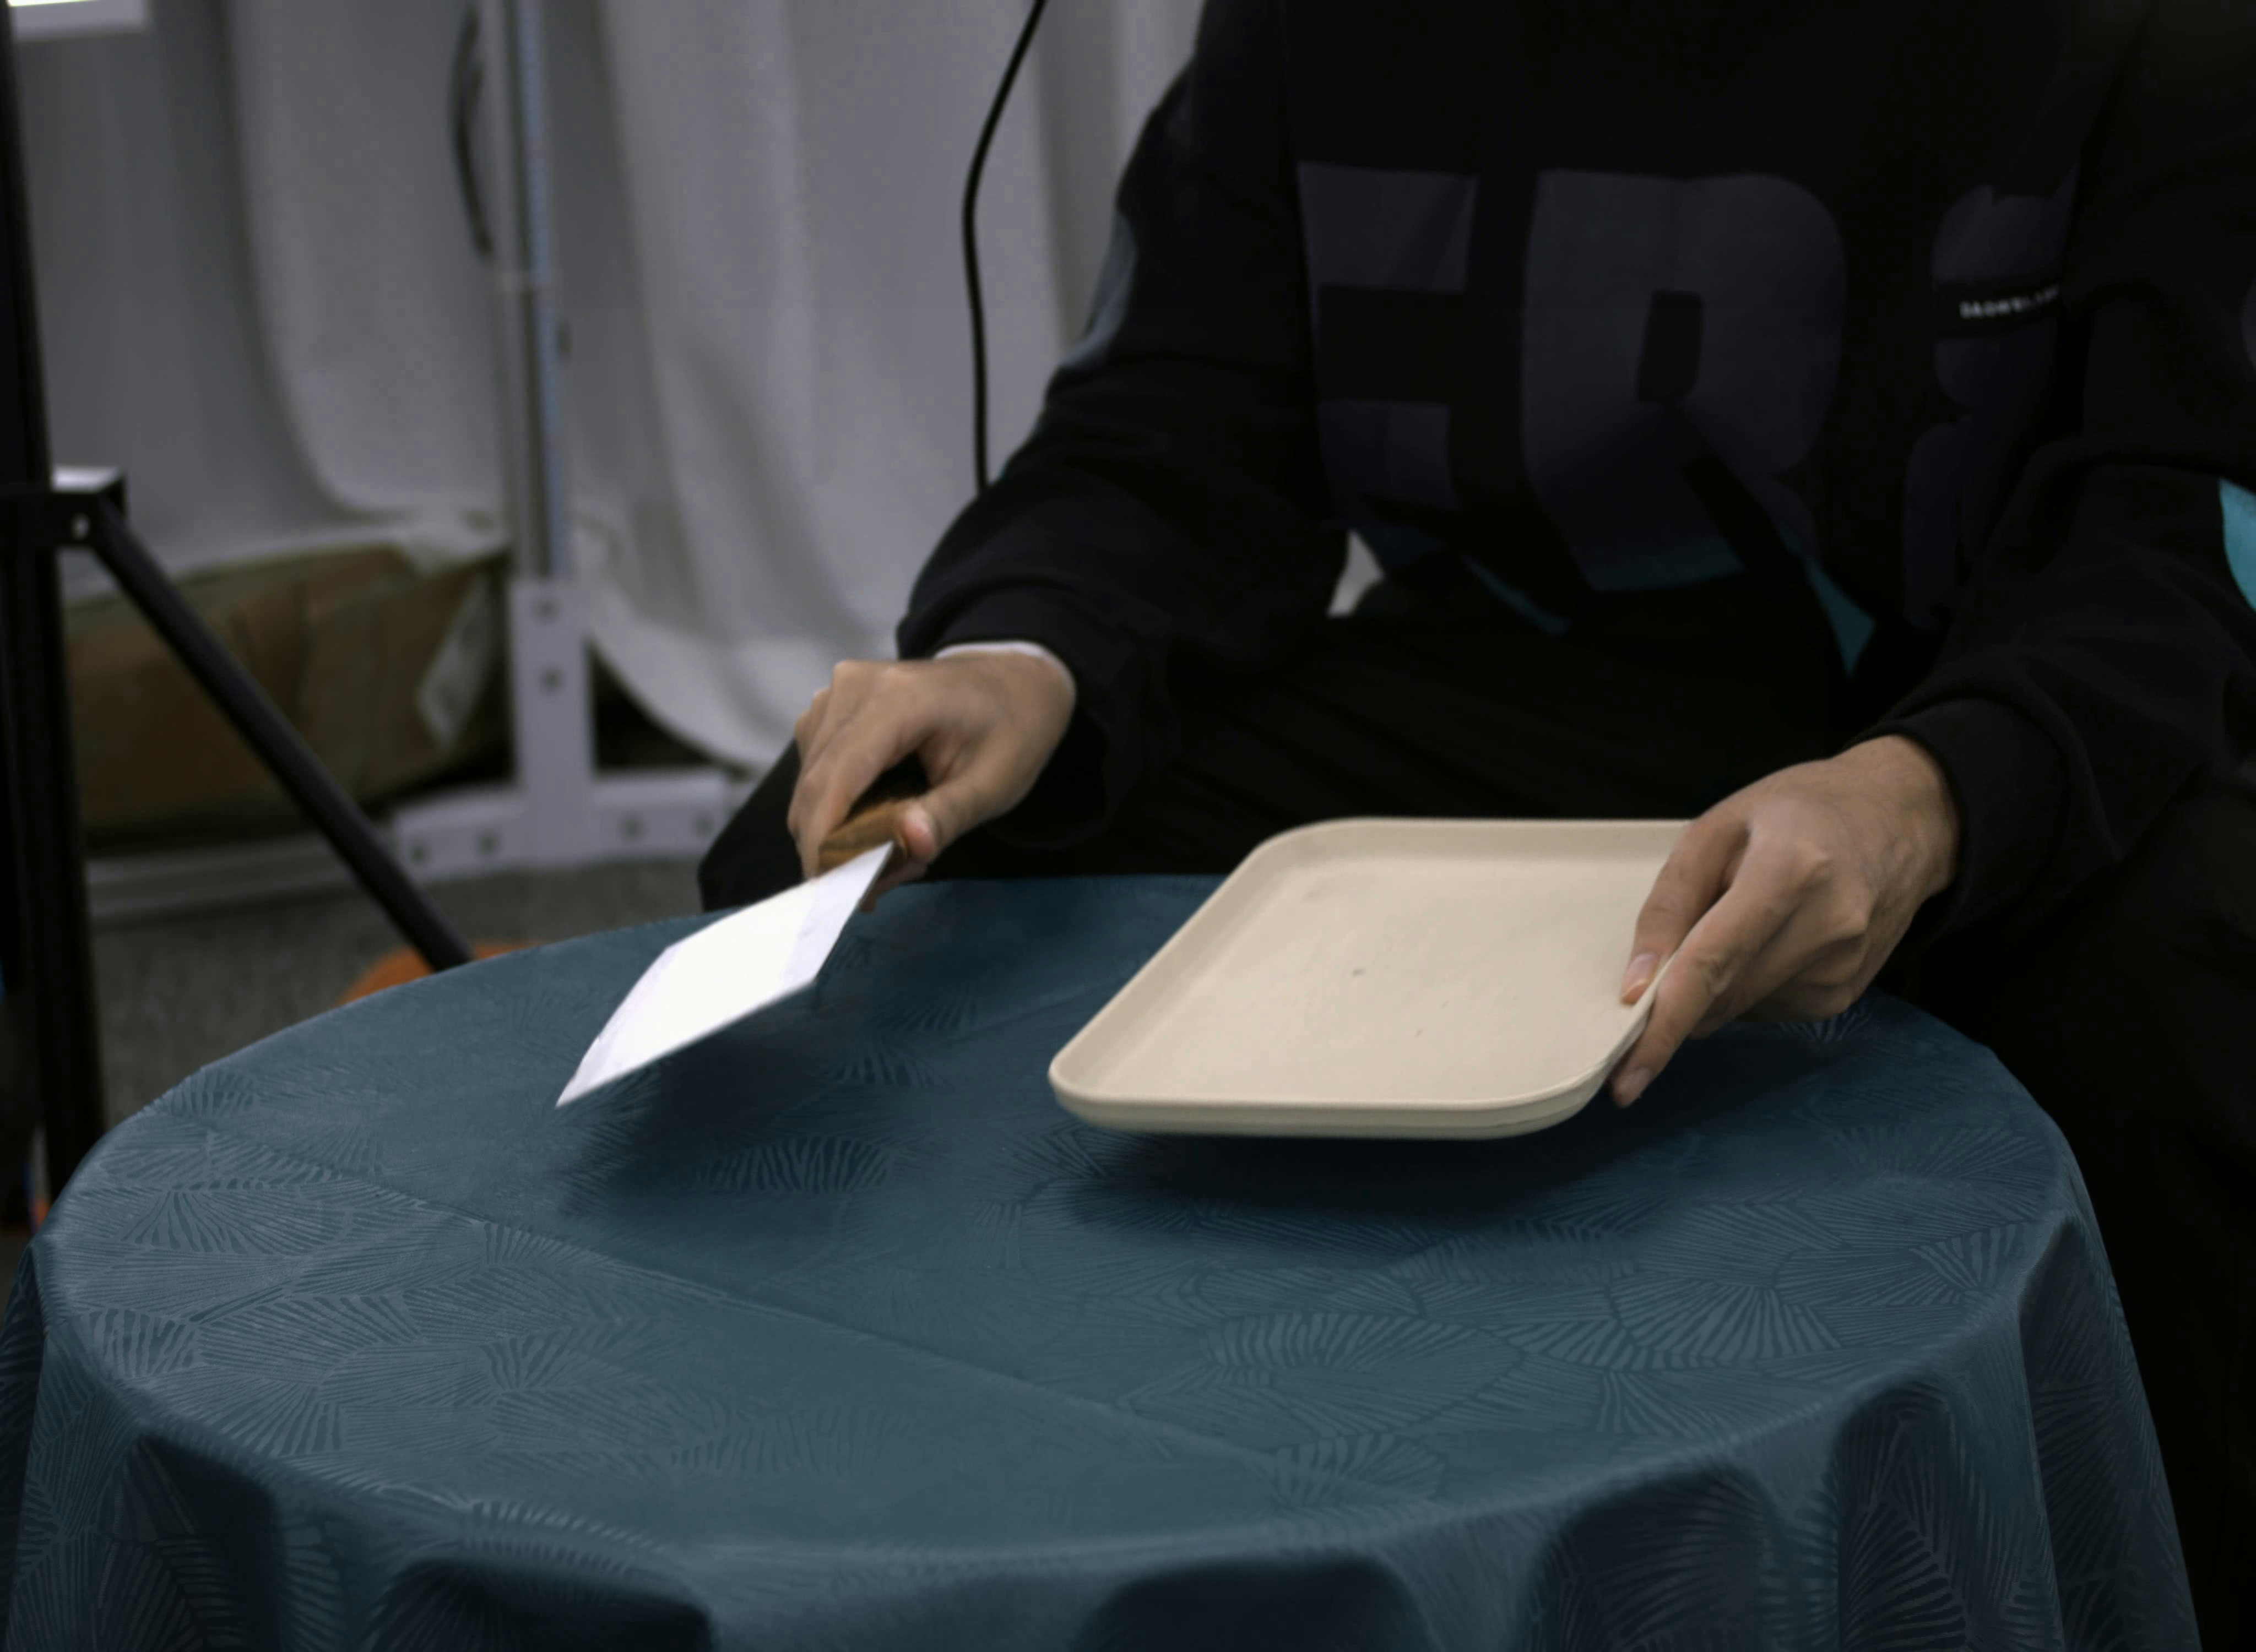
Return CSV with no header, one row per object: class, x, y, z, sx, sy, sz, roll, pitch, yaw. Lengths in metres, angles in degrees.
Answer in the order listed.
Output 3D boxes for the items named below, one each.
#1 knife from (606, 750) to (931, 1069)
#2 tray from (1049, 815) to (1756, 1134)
knife,-0.115,0.028,1.709,0.093,0.021,0.305,-27,9,10
tray,0.088,0.044,1.618,0.173,0.017,0.237,0,20,23
